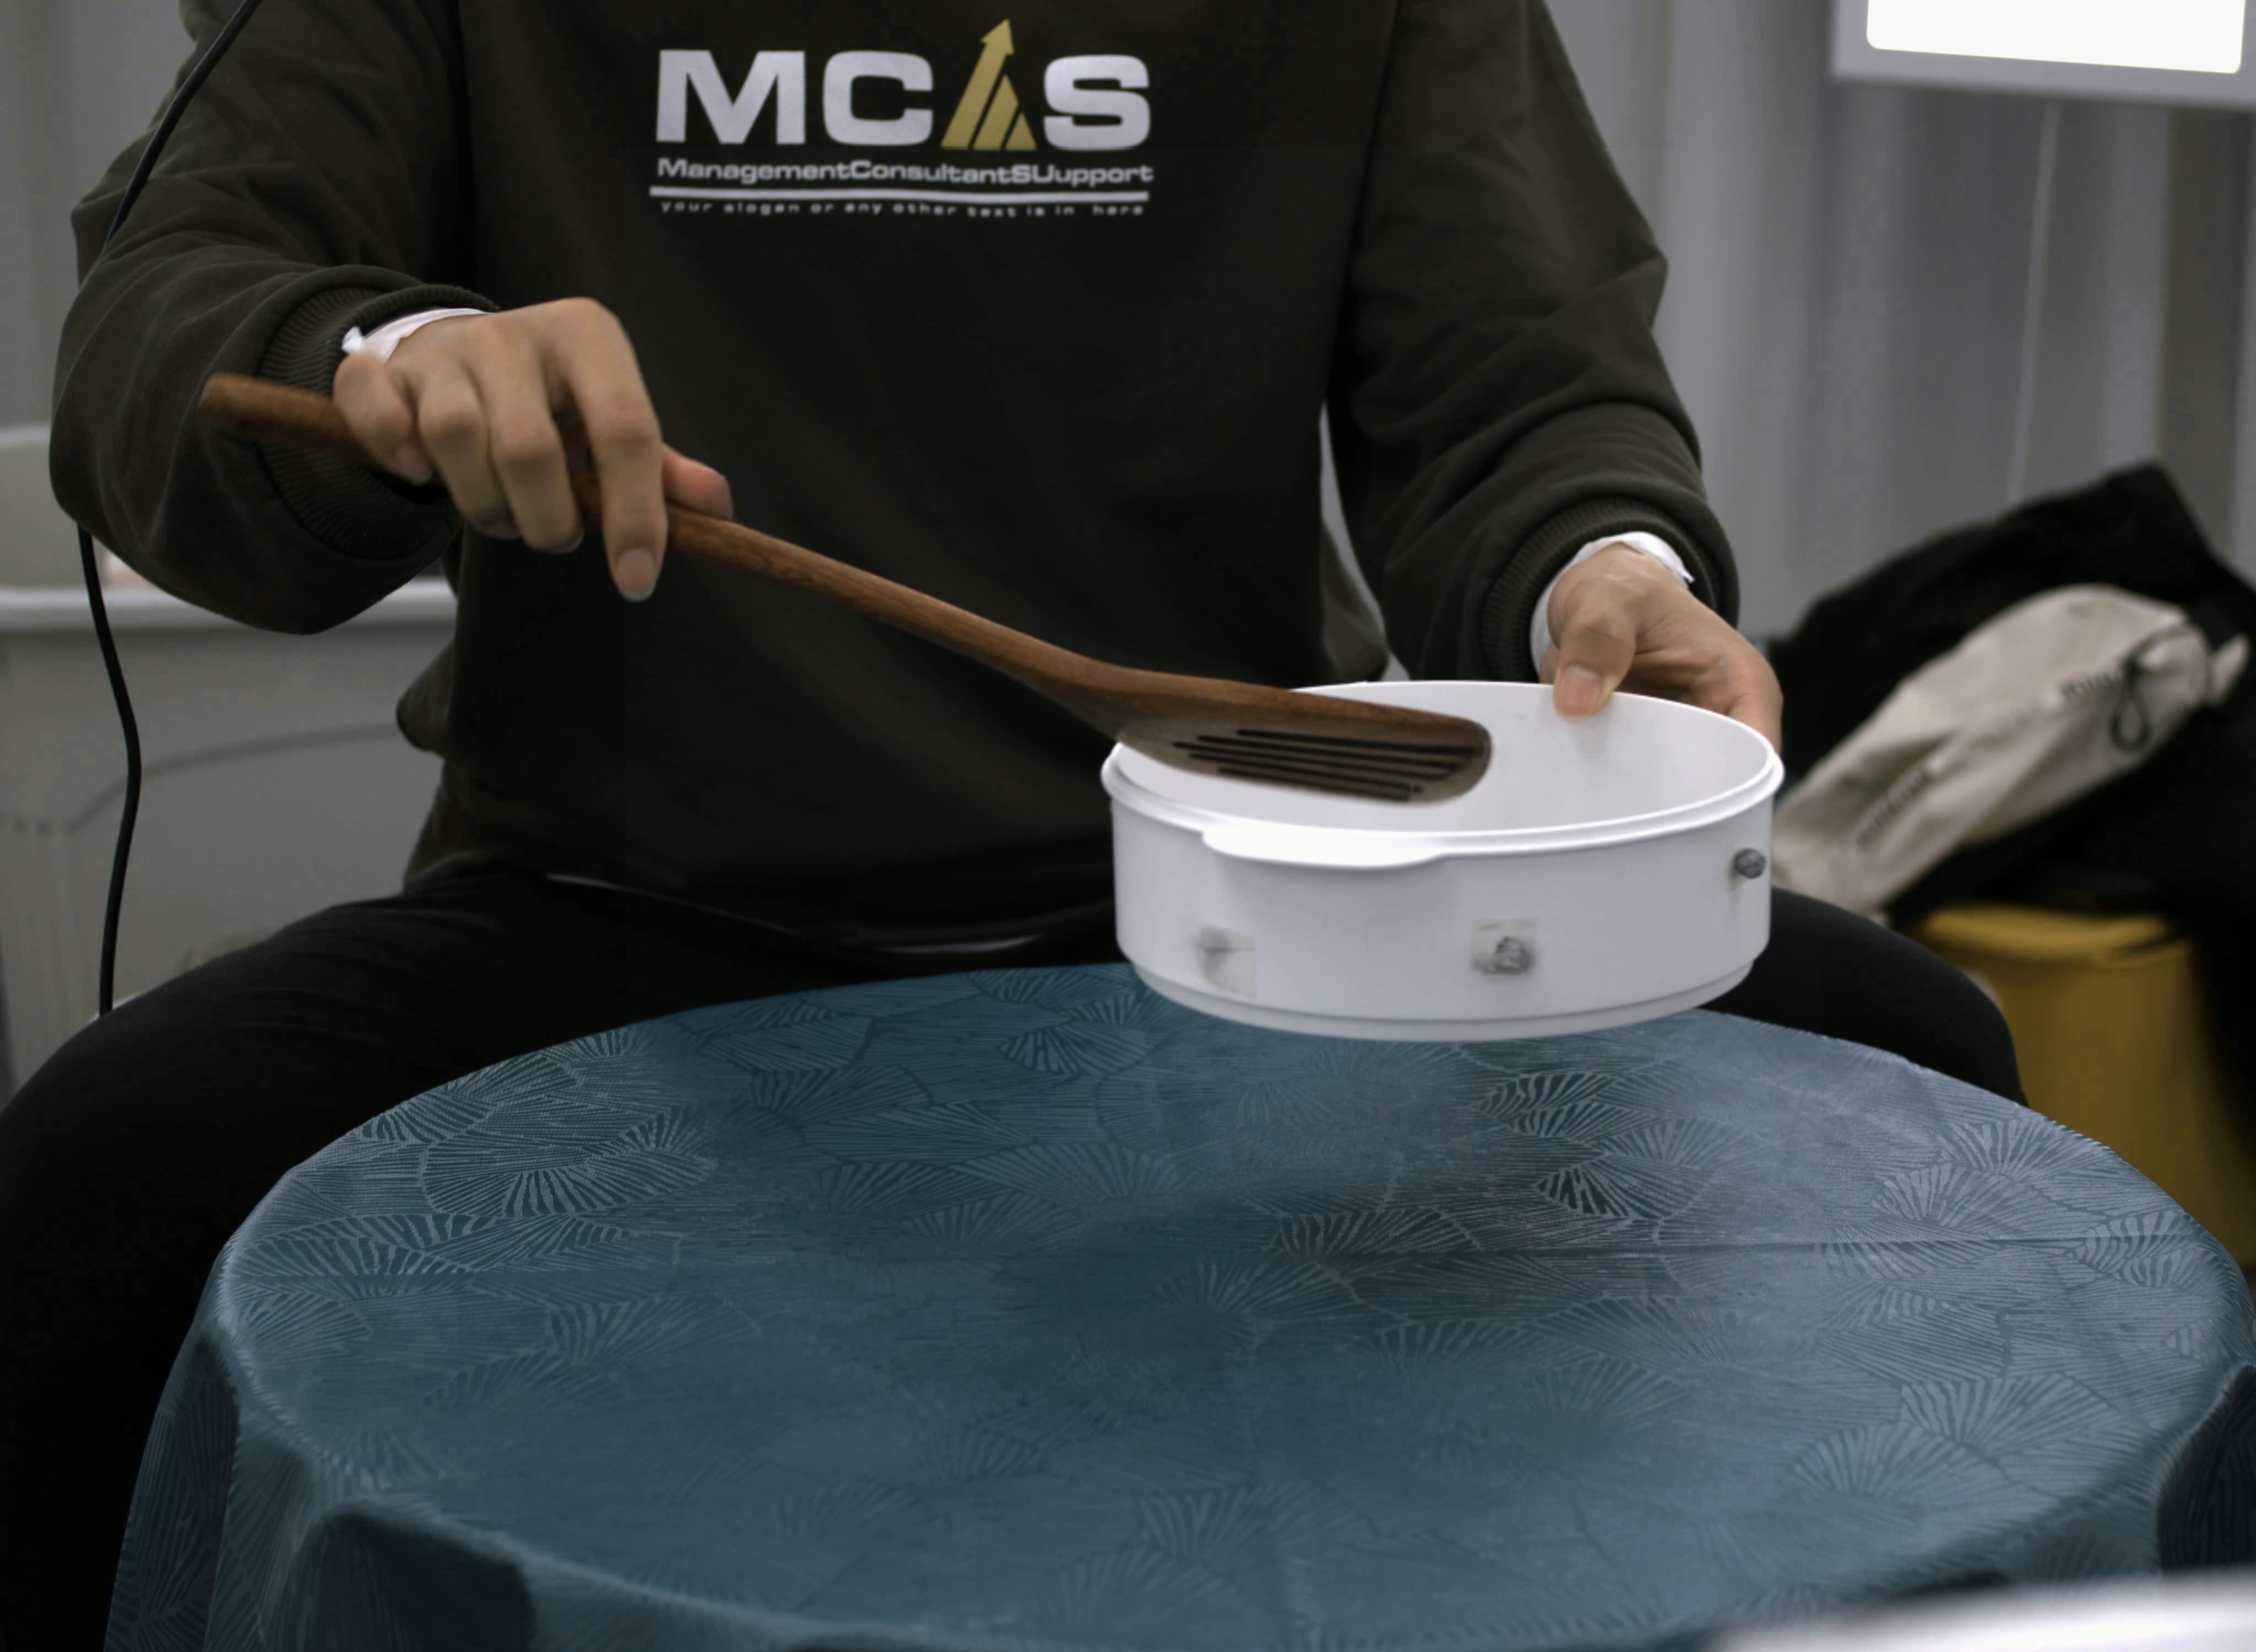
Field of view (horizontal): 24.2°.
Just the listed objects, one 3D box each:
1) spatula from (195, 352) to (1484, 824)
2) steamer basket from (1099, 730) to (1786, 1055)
[{"bbox_3d":[-0.083,-0.068,1.507,0.385,0.023,0.086,19,-21,-2],"label":"spatula"},{"bbox_3d":[0.091,0.019,1.549,0.200,0.069,0.231,5,11,23],"label":"steamer basket"}]
